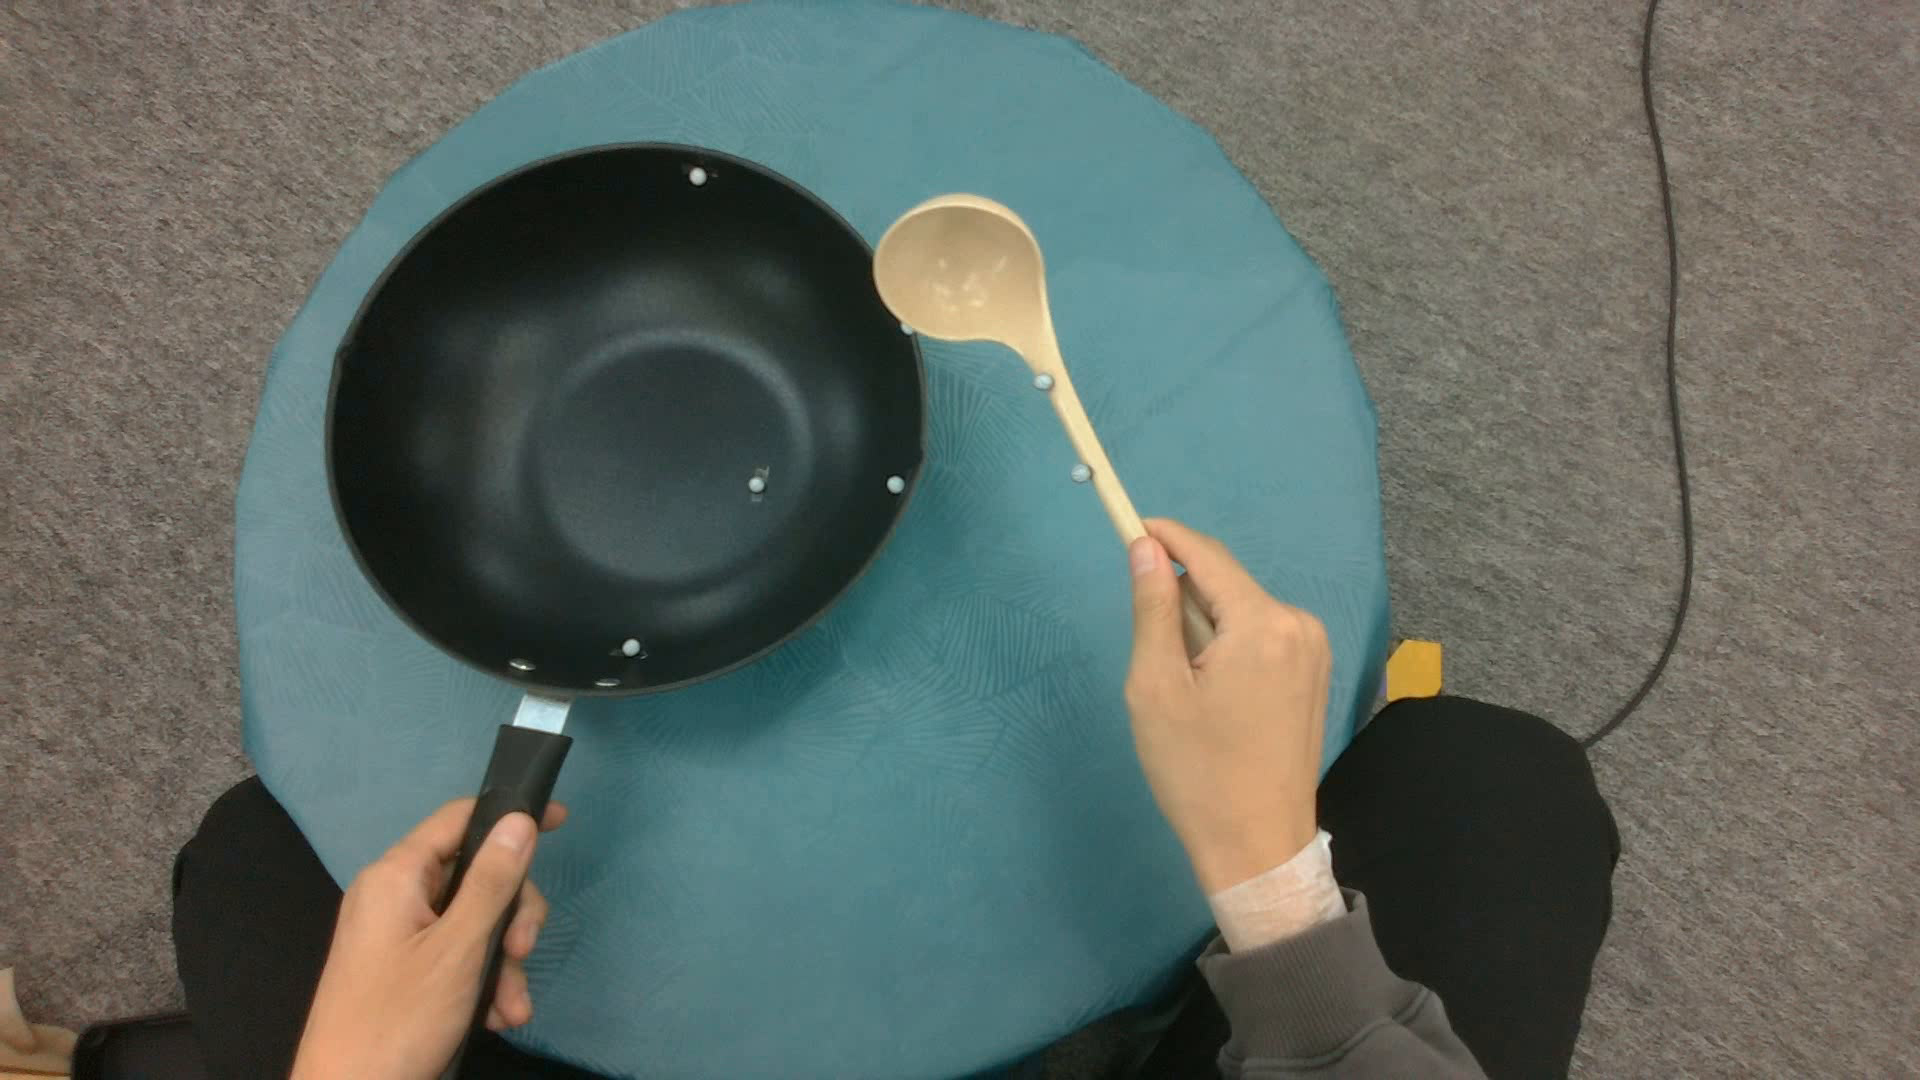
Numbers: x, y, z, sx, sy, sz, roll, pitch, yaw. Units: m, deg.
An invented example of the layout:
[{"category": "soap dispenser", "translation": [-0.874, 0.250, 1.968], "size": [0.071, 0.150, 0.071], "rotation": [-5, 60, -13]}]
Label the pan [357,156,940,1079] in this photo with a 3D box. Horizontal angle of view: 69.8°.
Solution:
[{"category": "pan", "translation": [-0.170, 0.035, 0.678], "size": [0.288, 0.086, 0.464], "rotation": [11, 75, 5]}]

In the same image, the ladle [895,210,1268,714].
[{"category": "ladle", "translation": [0.047, -0.036, 0.584], "size": [0.072, 0.073, 0.255], "rotation": [-42, 60, 28]}]
